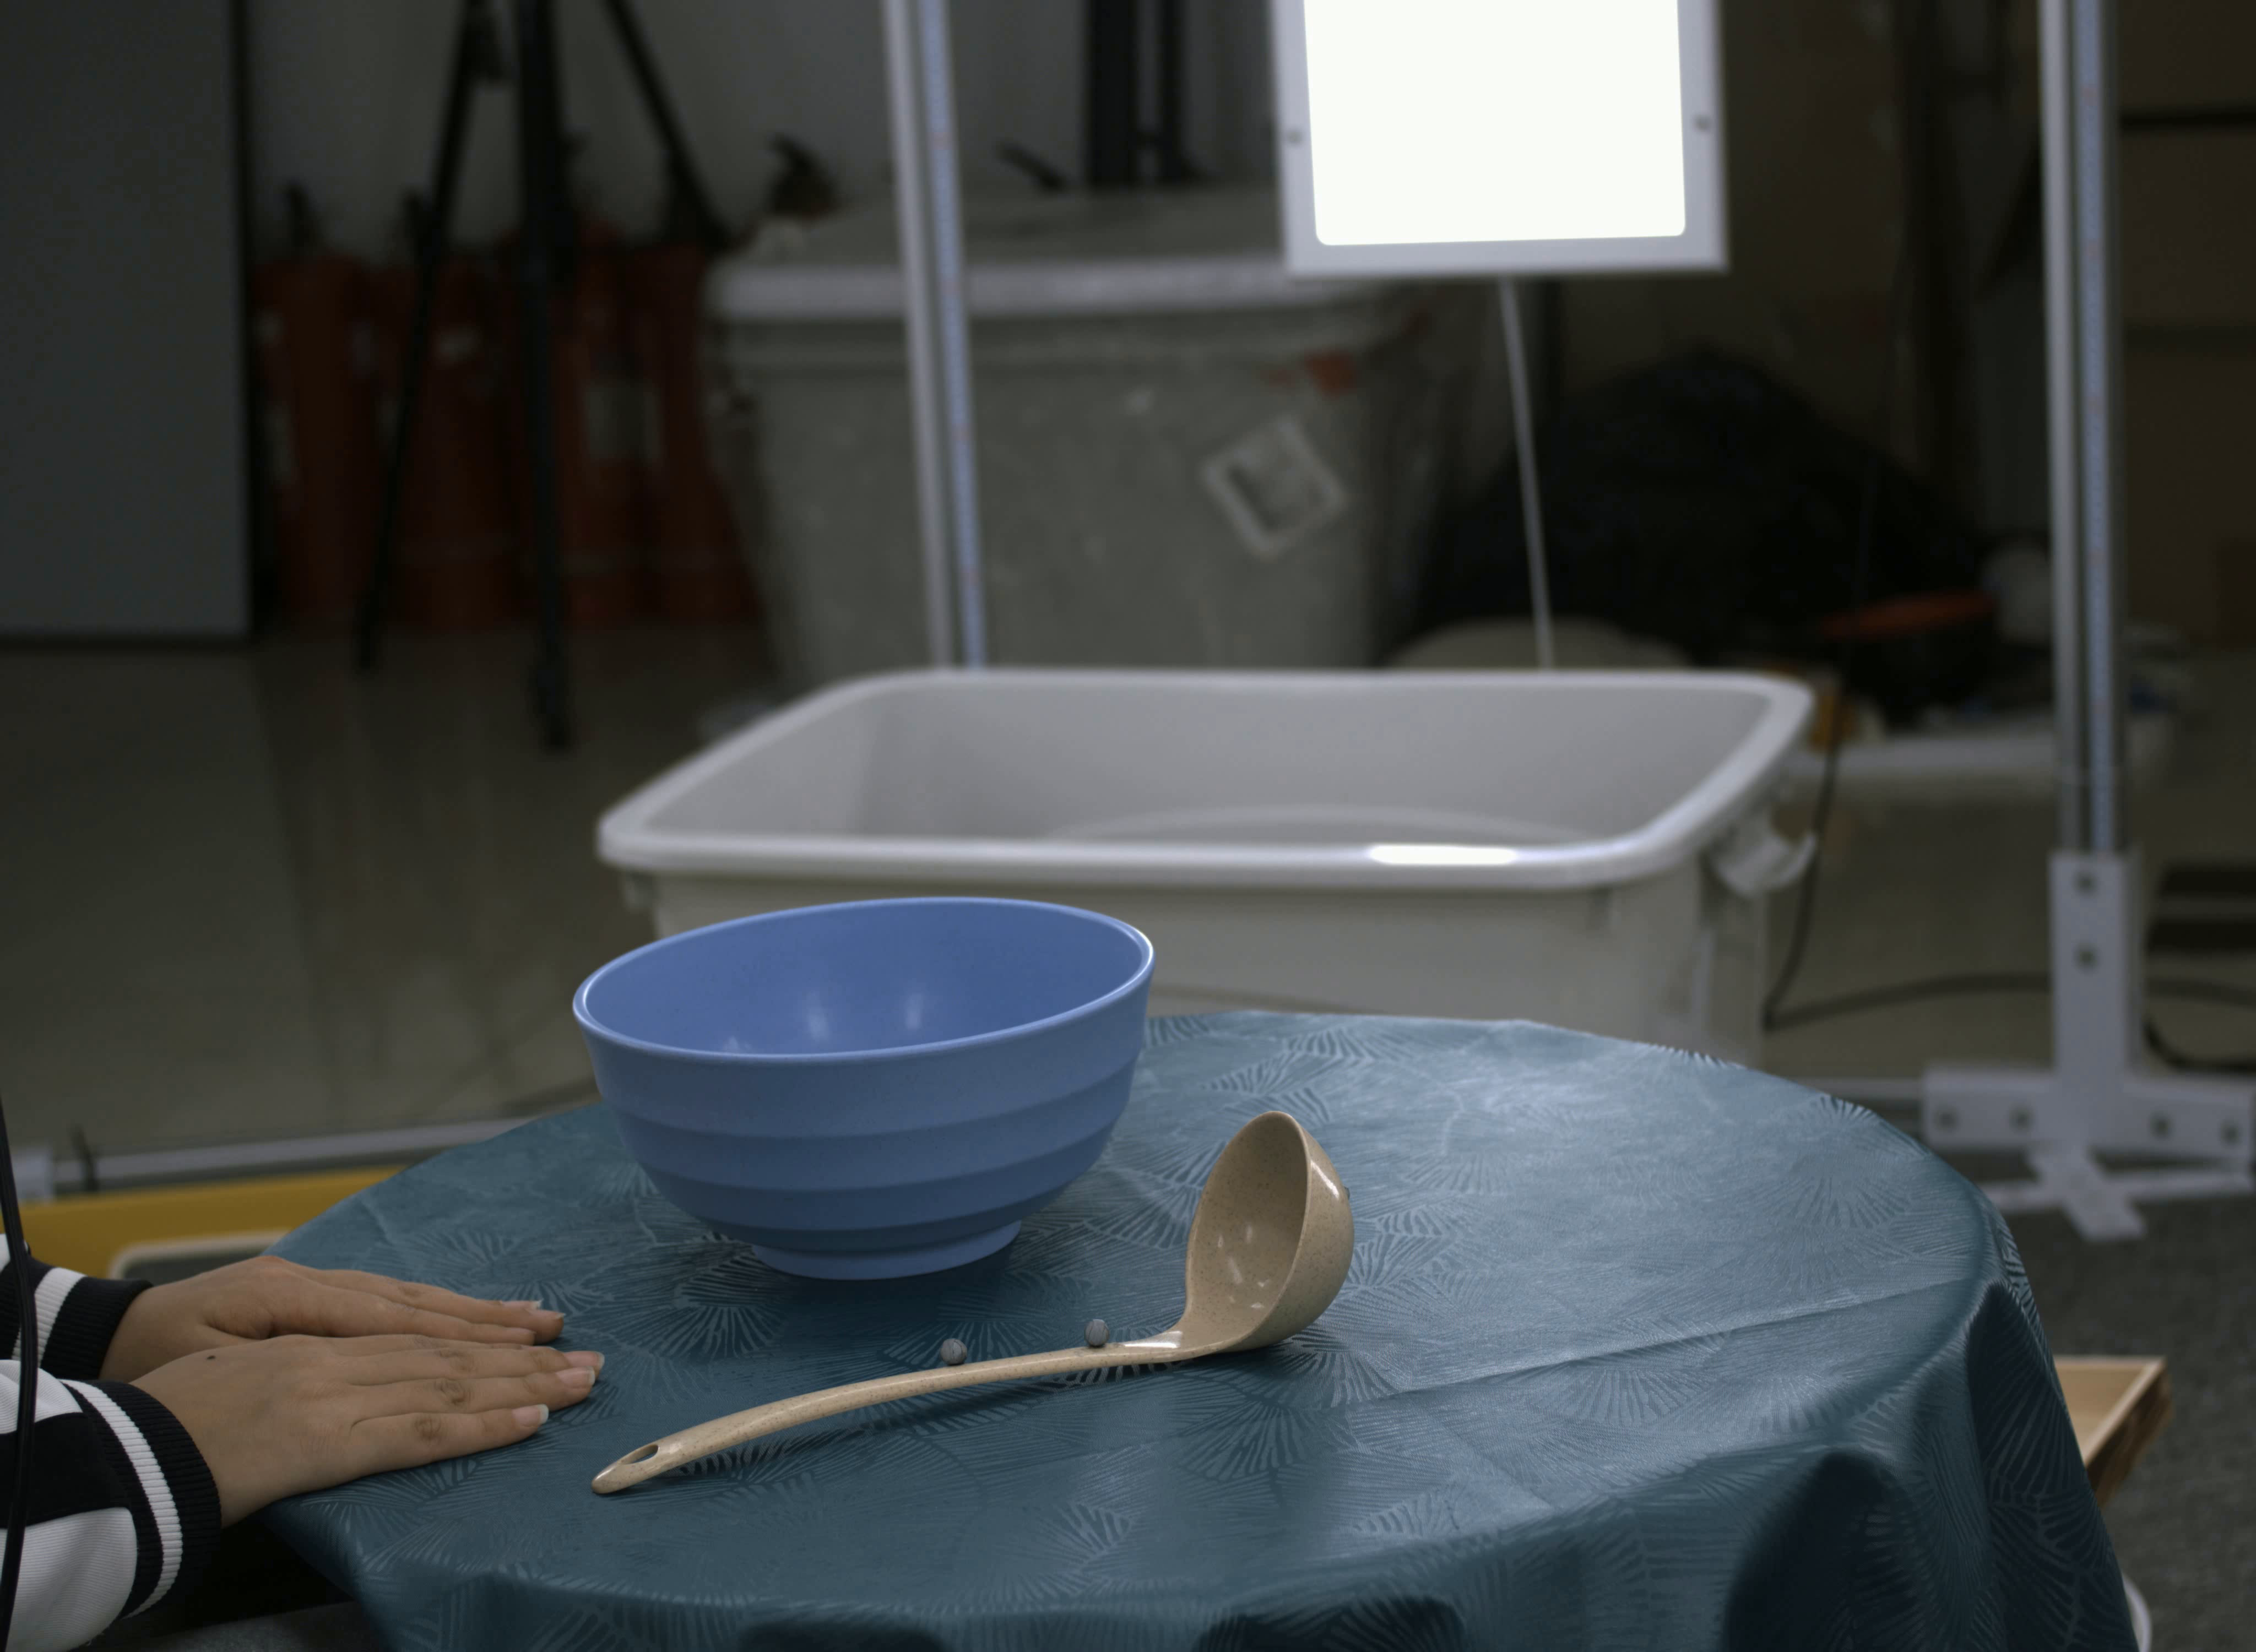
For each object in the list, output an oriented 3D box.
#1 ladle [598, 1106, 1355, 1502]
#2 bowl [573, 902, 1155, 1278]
[{"bbox_3d":[-0.048,0.144,1.692,0.249,0.073,0.073,-11,13,-23],"label":"ladle"},{"bbox_3d":[-0.087,0.094,1.861,0.196,0.096,0.196,-3,12,-1],"label":"bowl"}]
